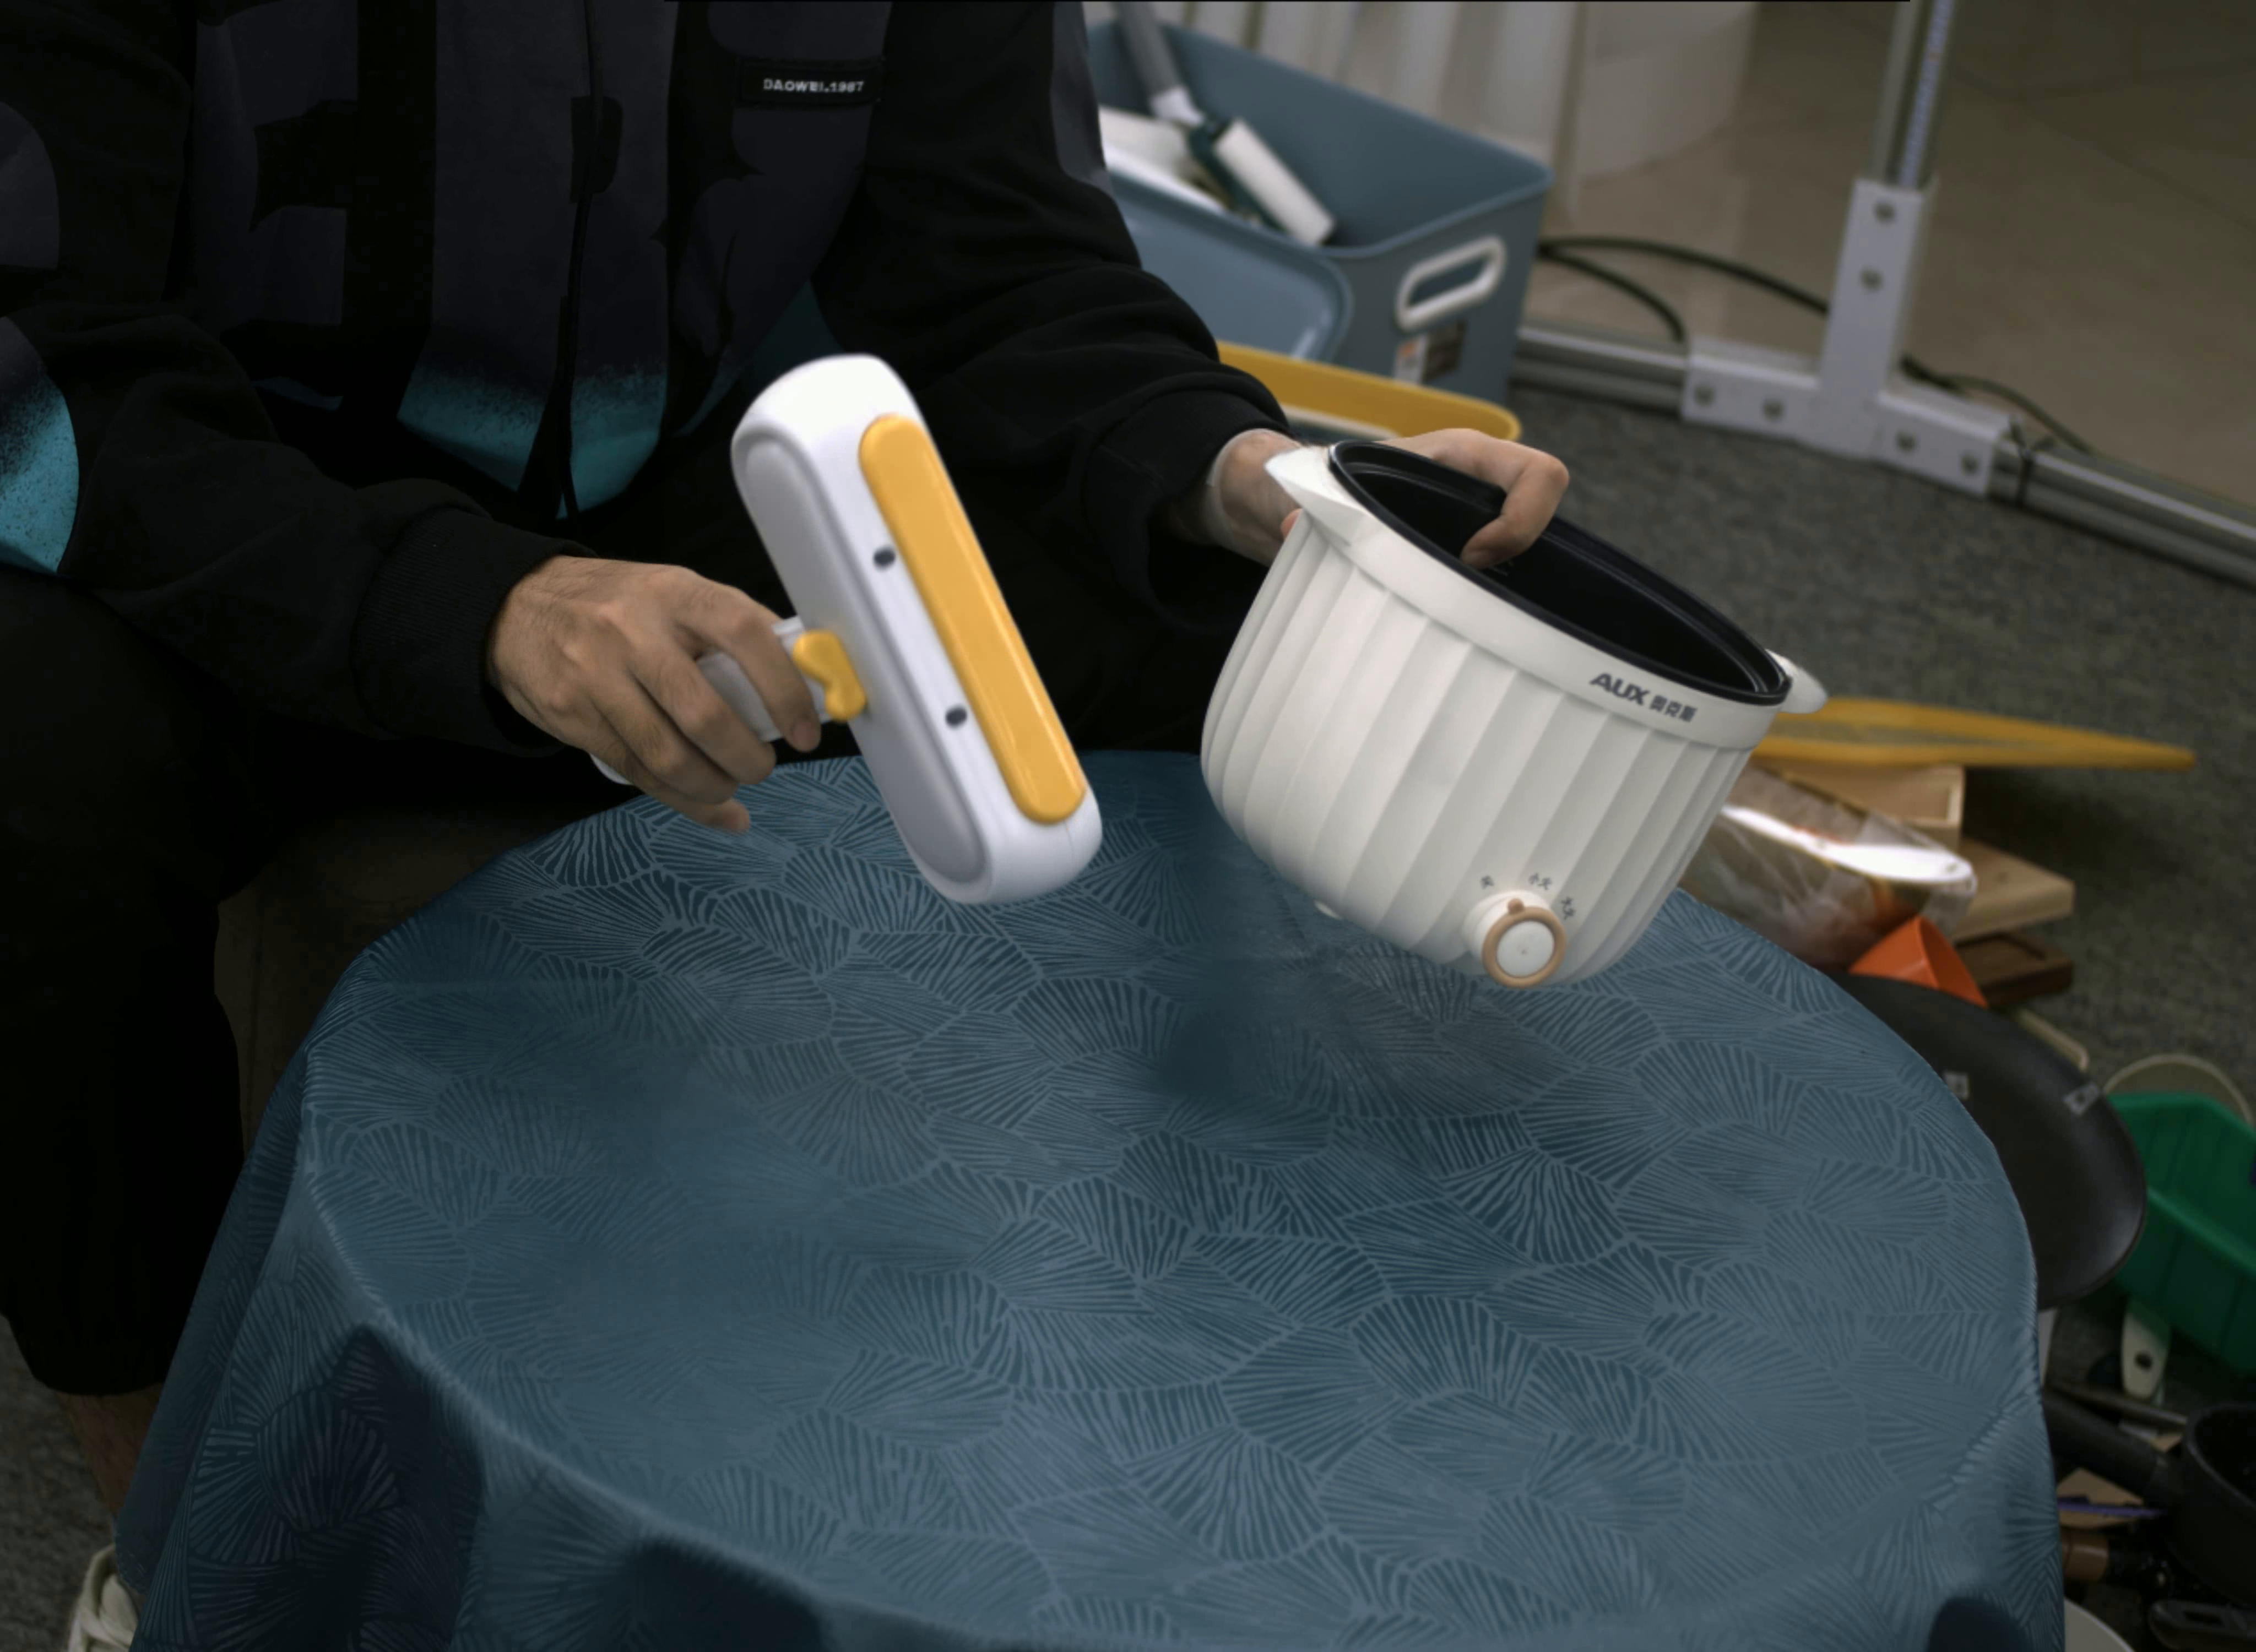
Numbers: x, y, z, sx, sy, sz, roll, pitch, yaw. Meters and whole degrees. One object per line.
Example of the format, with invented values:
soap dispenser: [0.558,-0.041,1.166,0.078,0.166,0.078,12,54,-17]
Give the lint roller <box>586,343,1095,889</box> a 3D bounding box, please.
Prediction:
lint roller: [-0.113,-0.054,1.801,0.074,0.192,0.193,-38,12,-35]

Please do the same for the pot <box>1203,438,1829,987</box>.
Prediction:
pot: [0.124,-0.031,1.861,0.238,0.142,0.192,19,14,-26]
